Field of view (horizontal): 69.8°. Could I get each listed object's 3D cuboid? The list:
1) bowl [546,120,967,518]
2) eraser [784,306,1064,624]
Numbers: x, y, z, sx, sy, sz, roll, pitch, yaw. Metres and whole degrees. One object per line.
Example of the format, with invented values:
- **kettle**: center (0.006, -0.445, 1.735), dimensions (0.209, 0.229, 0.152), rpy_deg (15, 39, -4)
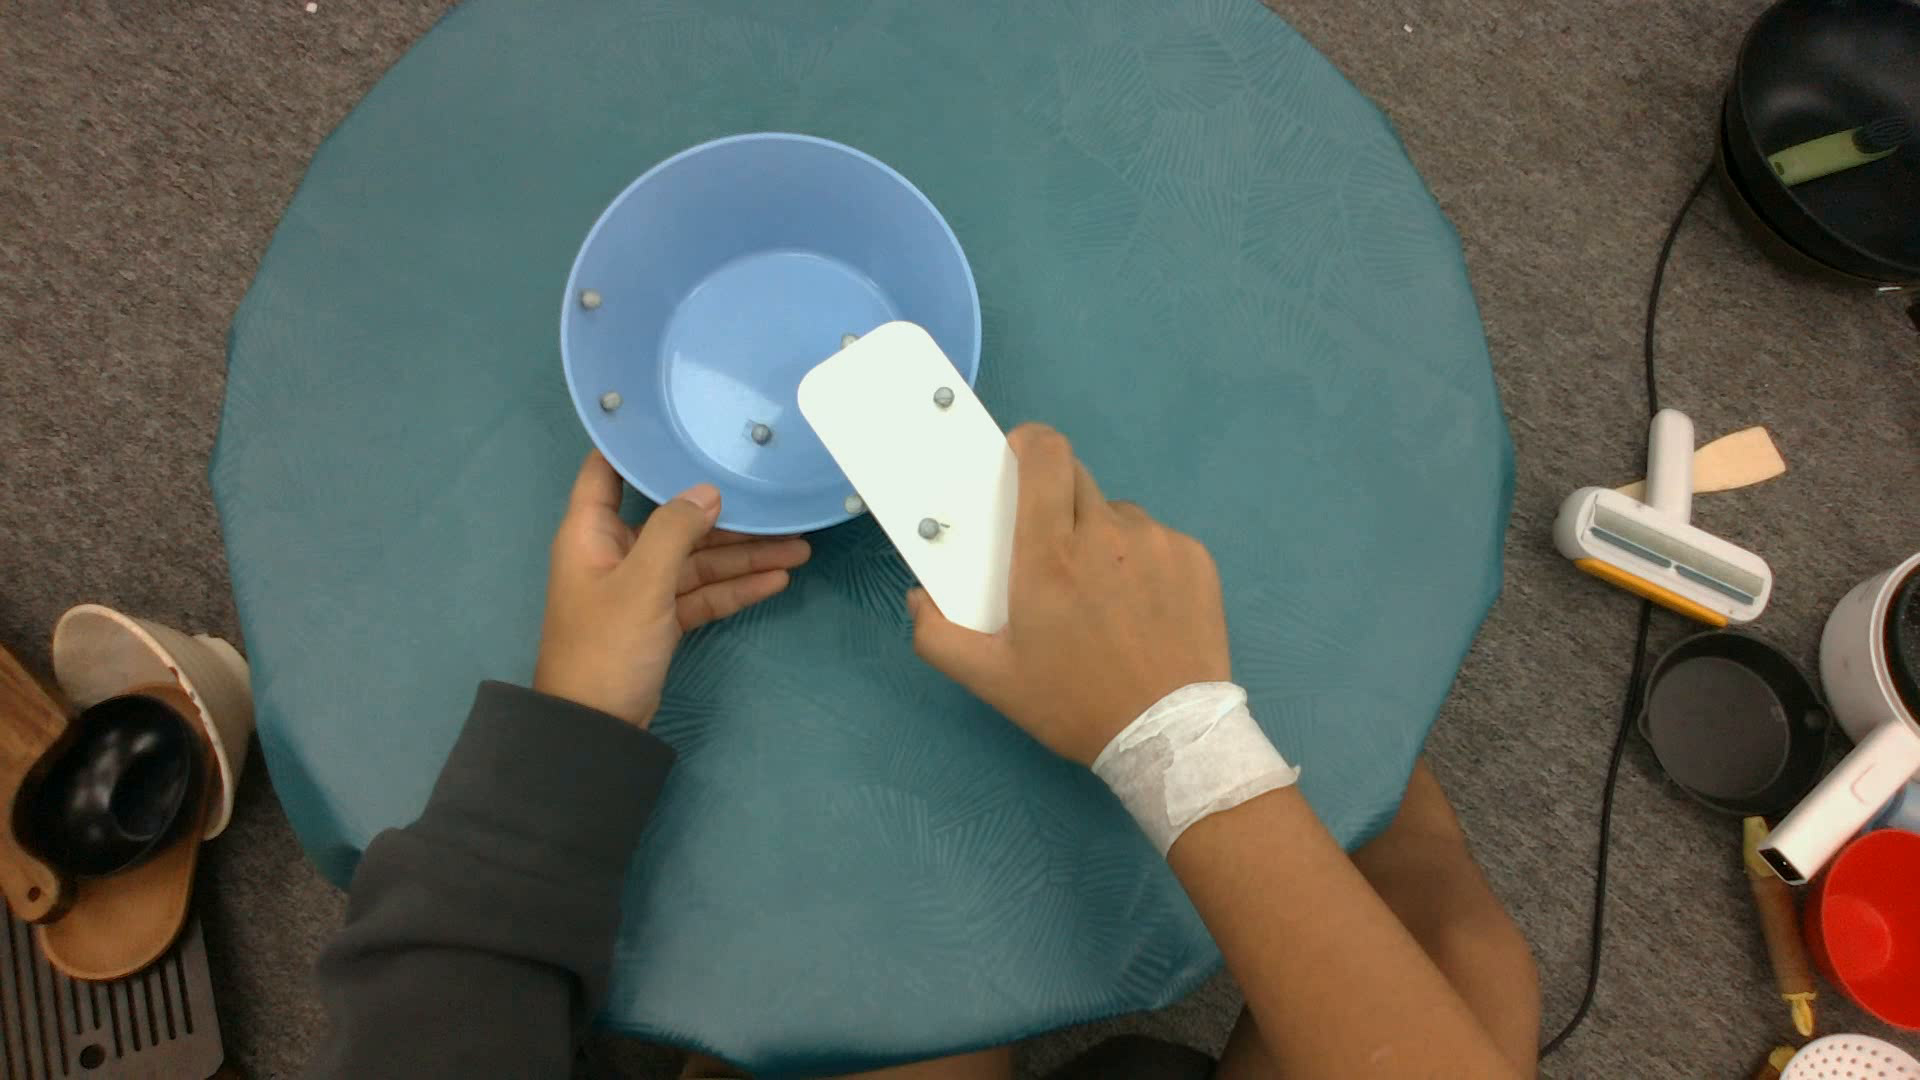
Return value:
- **bowl**: center (-0.086, -0.090, 0.609), dimensions (0.176, 0.070, 0.176), rpy_deg (1, 79, -3)
- **eraser**: center (-0.016, -0.029, 0.553), dimensions (0.063, 0.034, 0.131), rpy_deg (-33, 79, -8)
